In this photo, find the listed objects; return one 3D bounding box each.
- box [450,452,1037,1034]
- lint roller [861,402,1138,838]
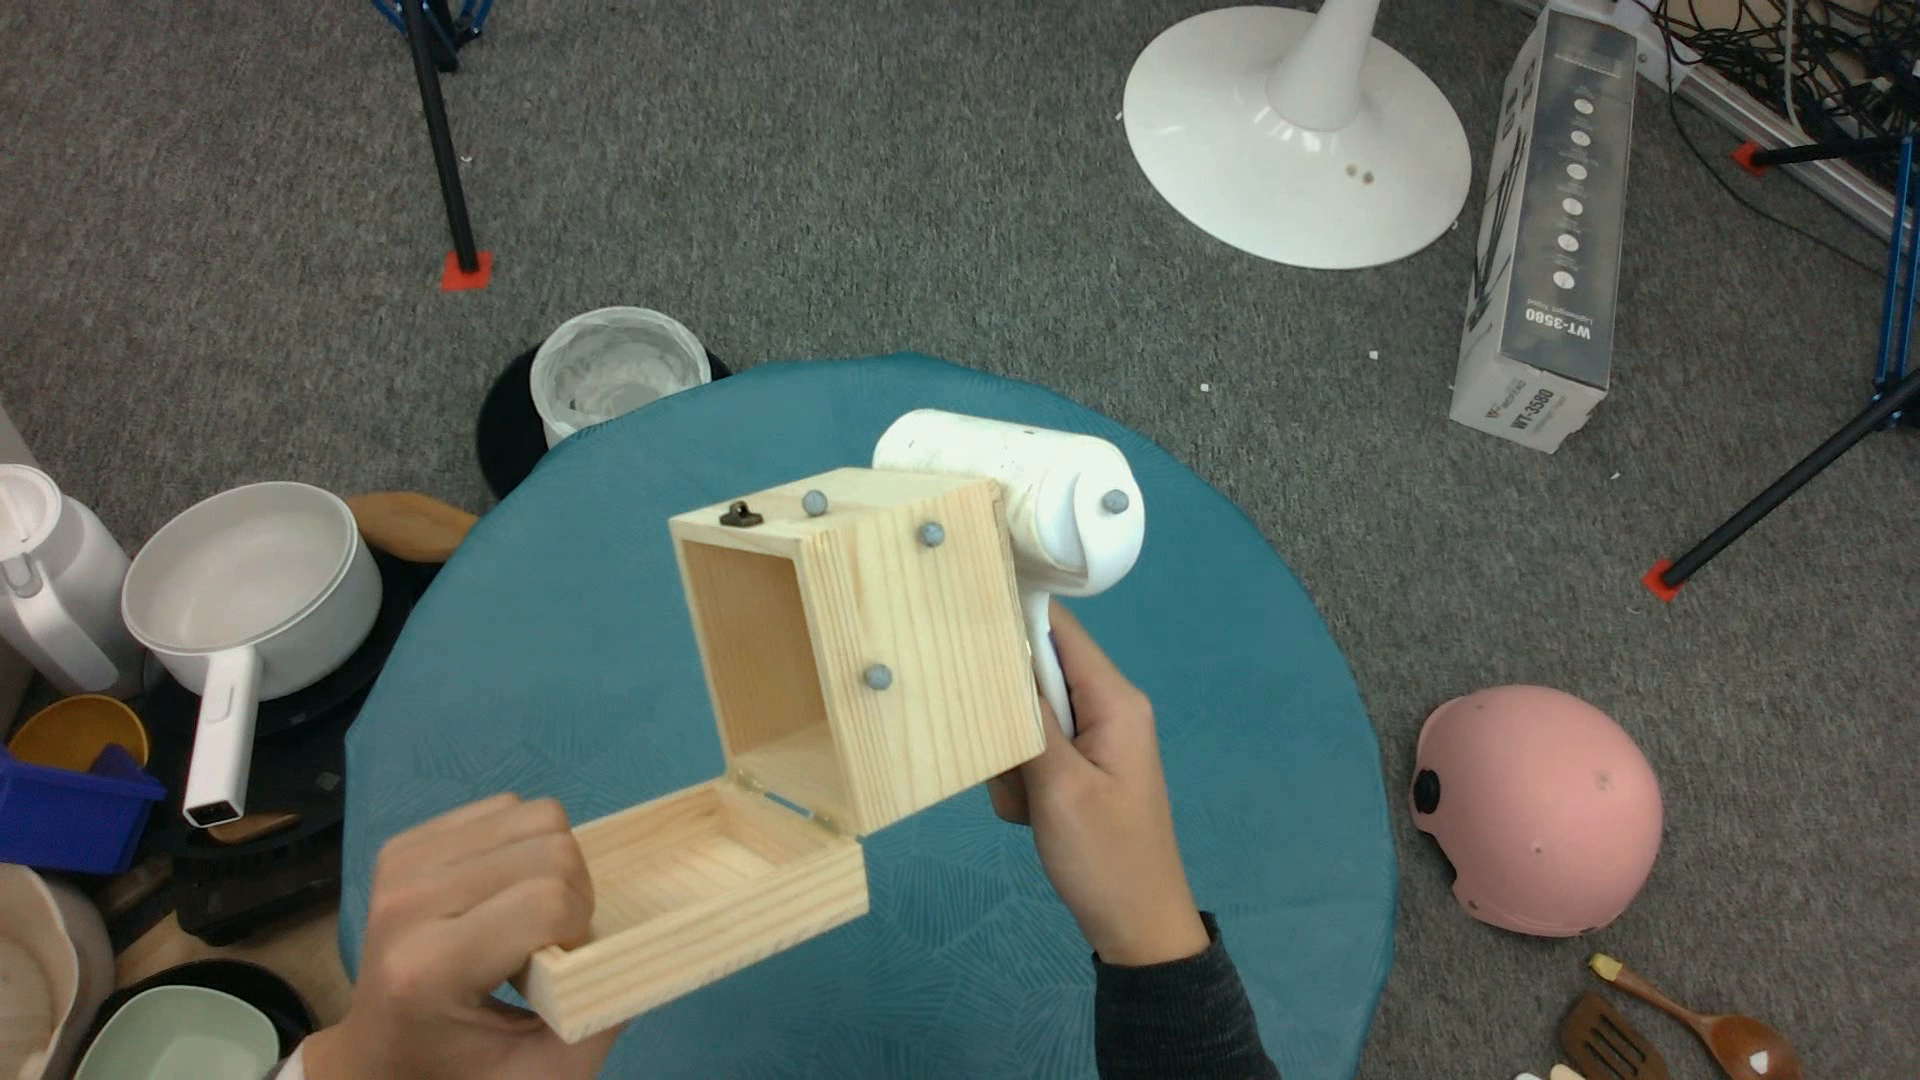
[{"bbox_3d":[-0.081,0.052,0.464,0.185,0.102,0.133,-20,105,-33],"label":"box"},{"bbox_3d":[0.030,0.034,0.529,0.050,0.180,0.133,-34,27,-28],"label":"lint roller"}]
